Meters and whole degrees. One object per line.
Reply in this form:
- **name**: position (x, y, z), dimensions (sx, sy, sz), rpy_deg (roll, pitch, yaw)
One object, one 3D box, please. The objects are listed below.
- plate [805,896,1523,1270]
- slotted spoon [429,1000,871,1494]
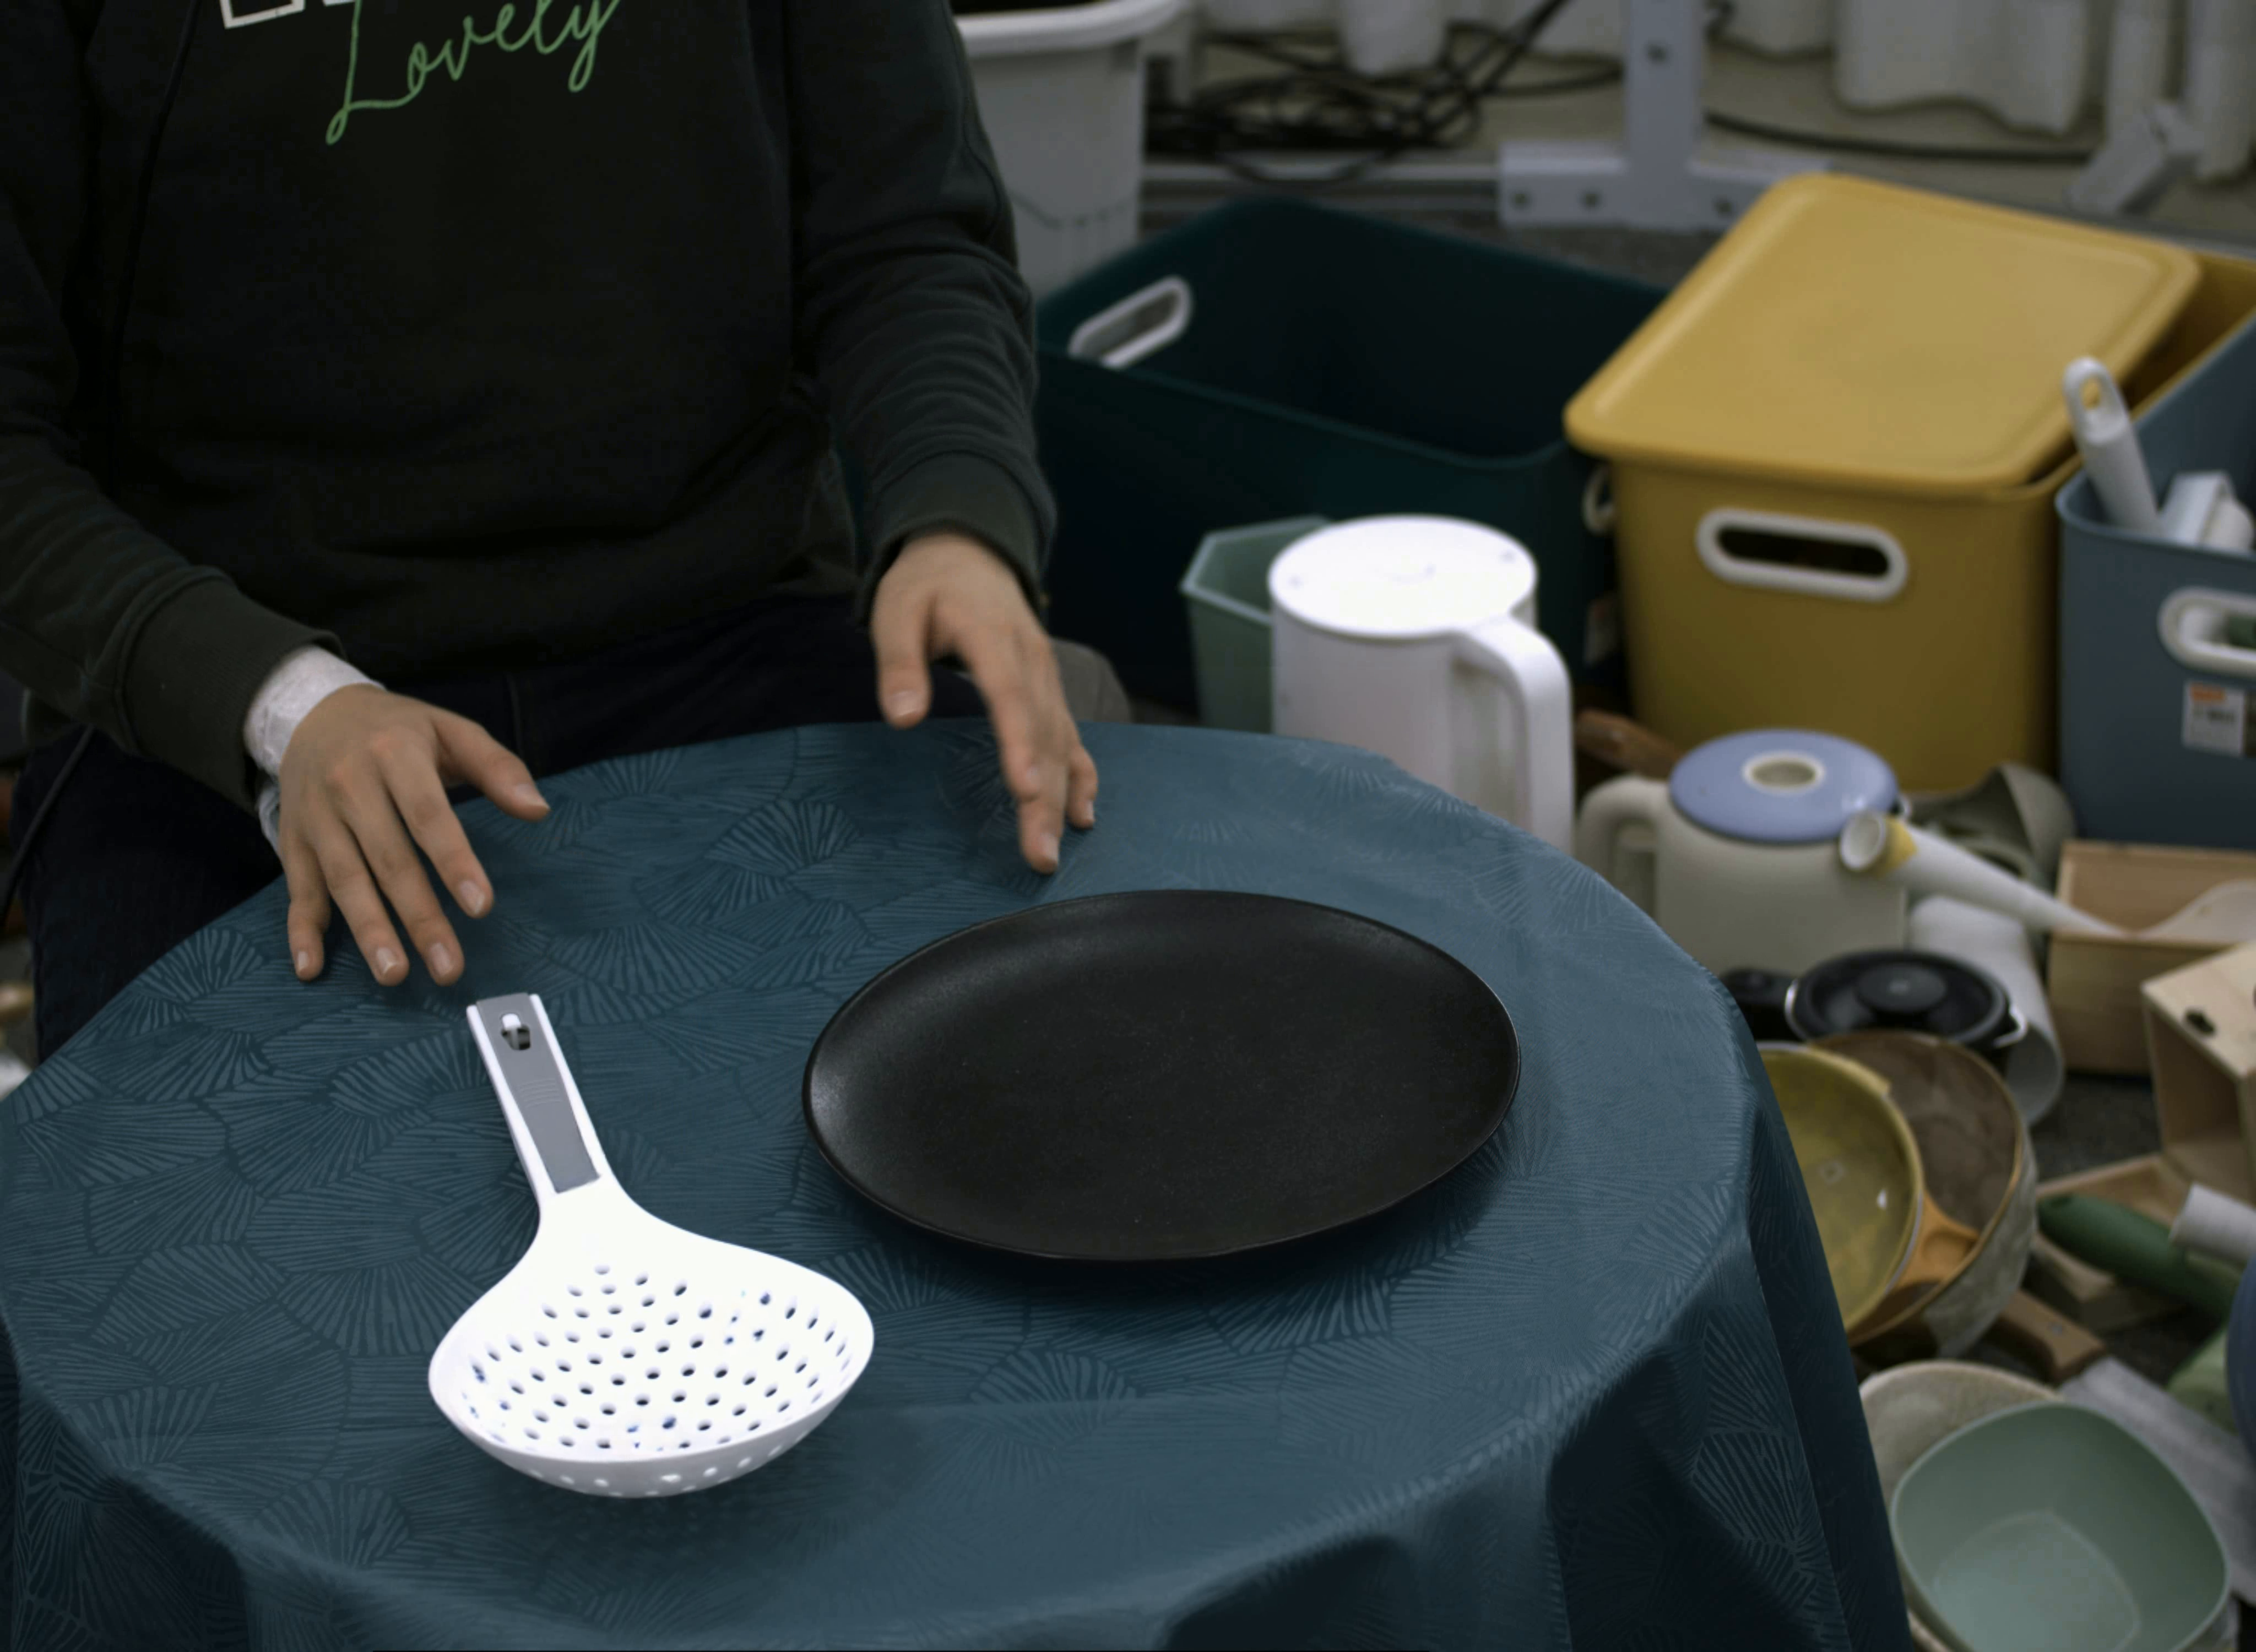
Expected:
- **plate**: position (0.012, 0.090, 1.896), dimensions (0.243, 0.023, 0.248), rpy_deg (-2, 27, 2)
- **slotted spoon**: position (-0.174, 0.129, 1.814), dimensions (0.136, 0.045, 0.353), rpy_deg (-8, 27, -13)
